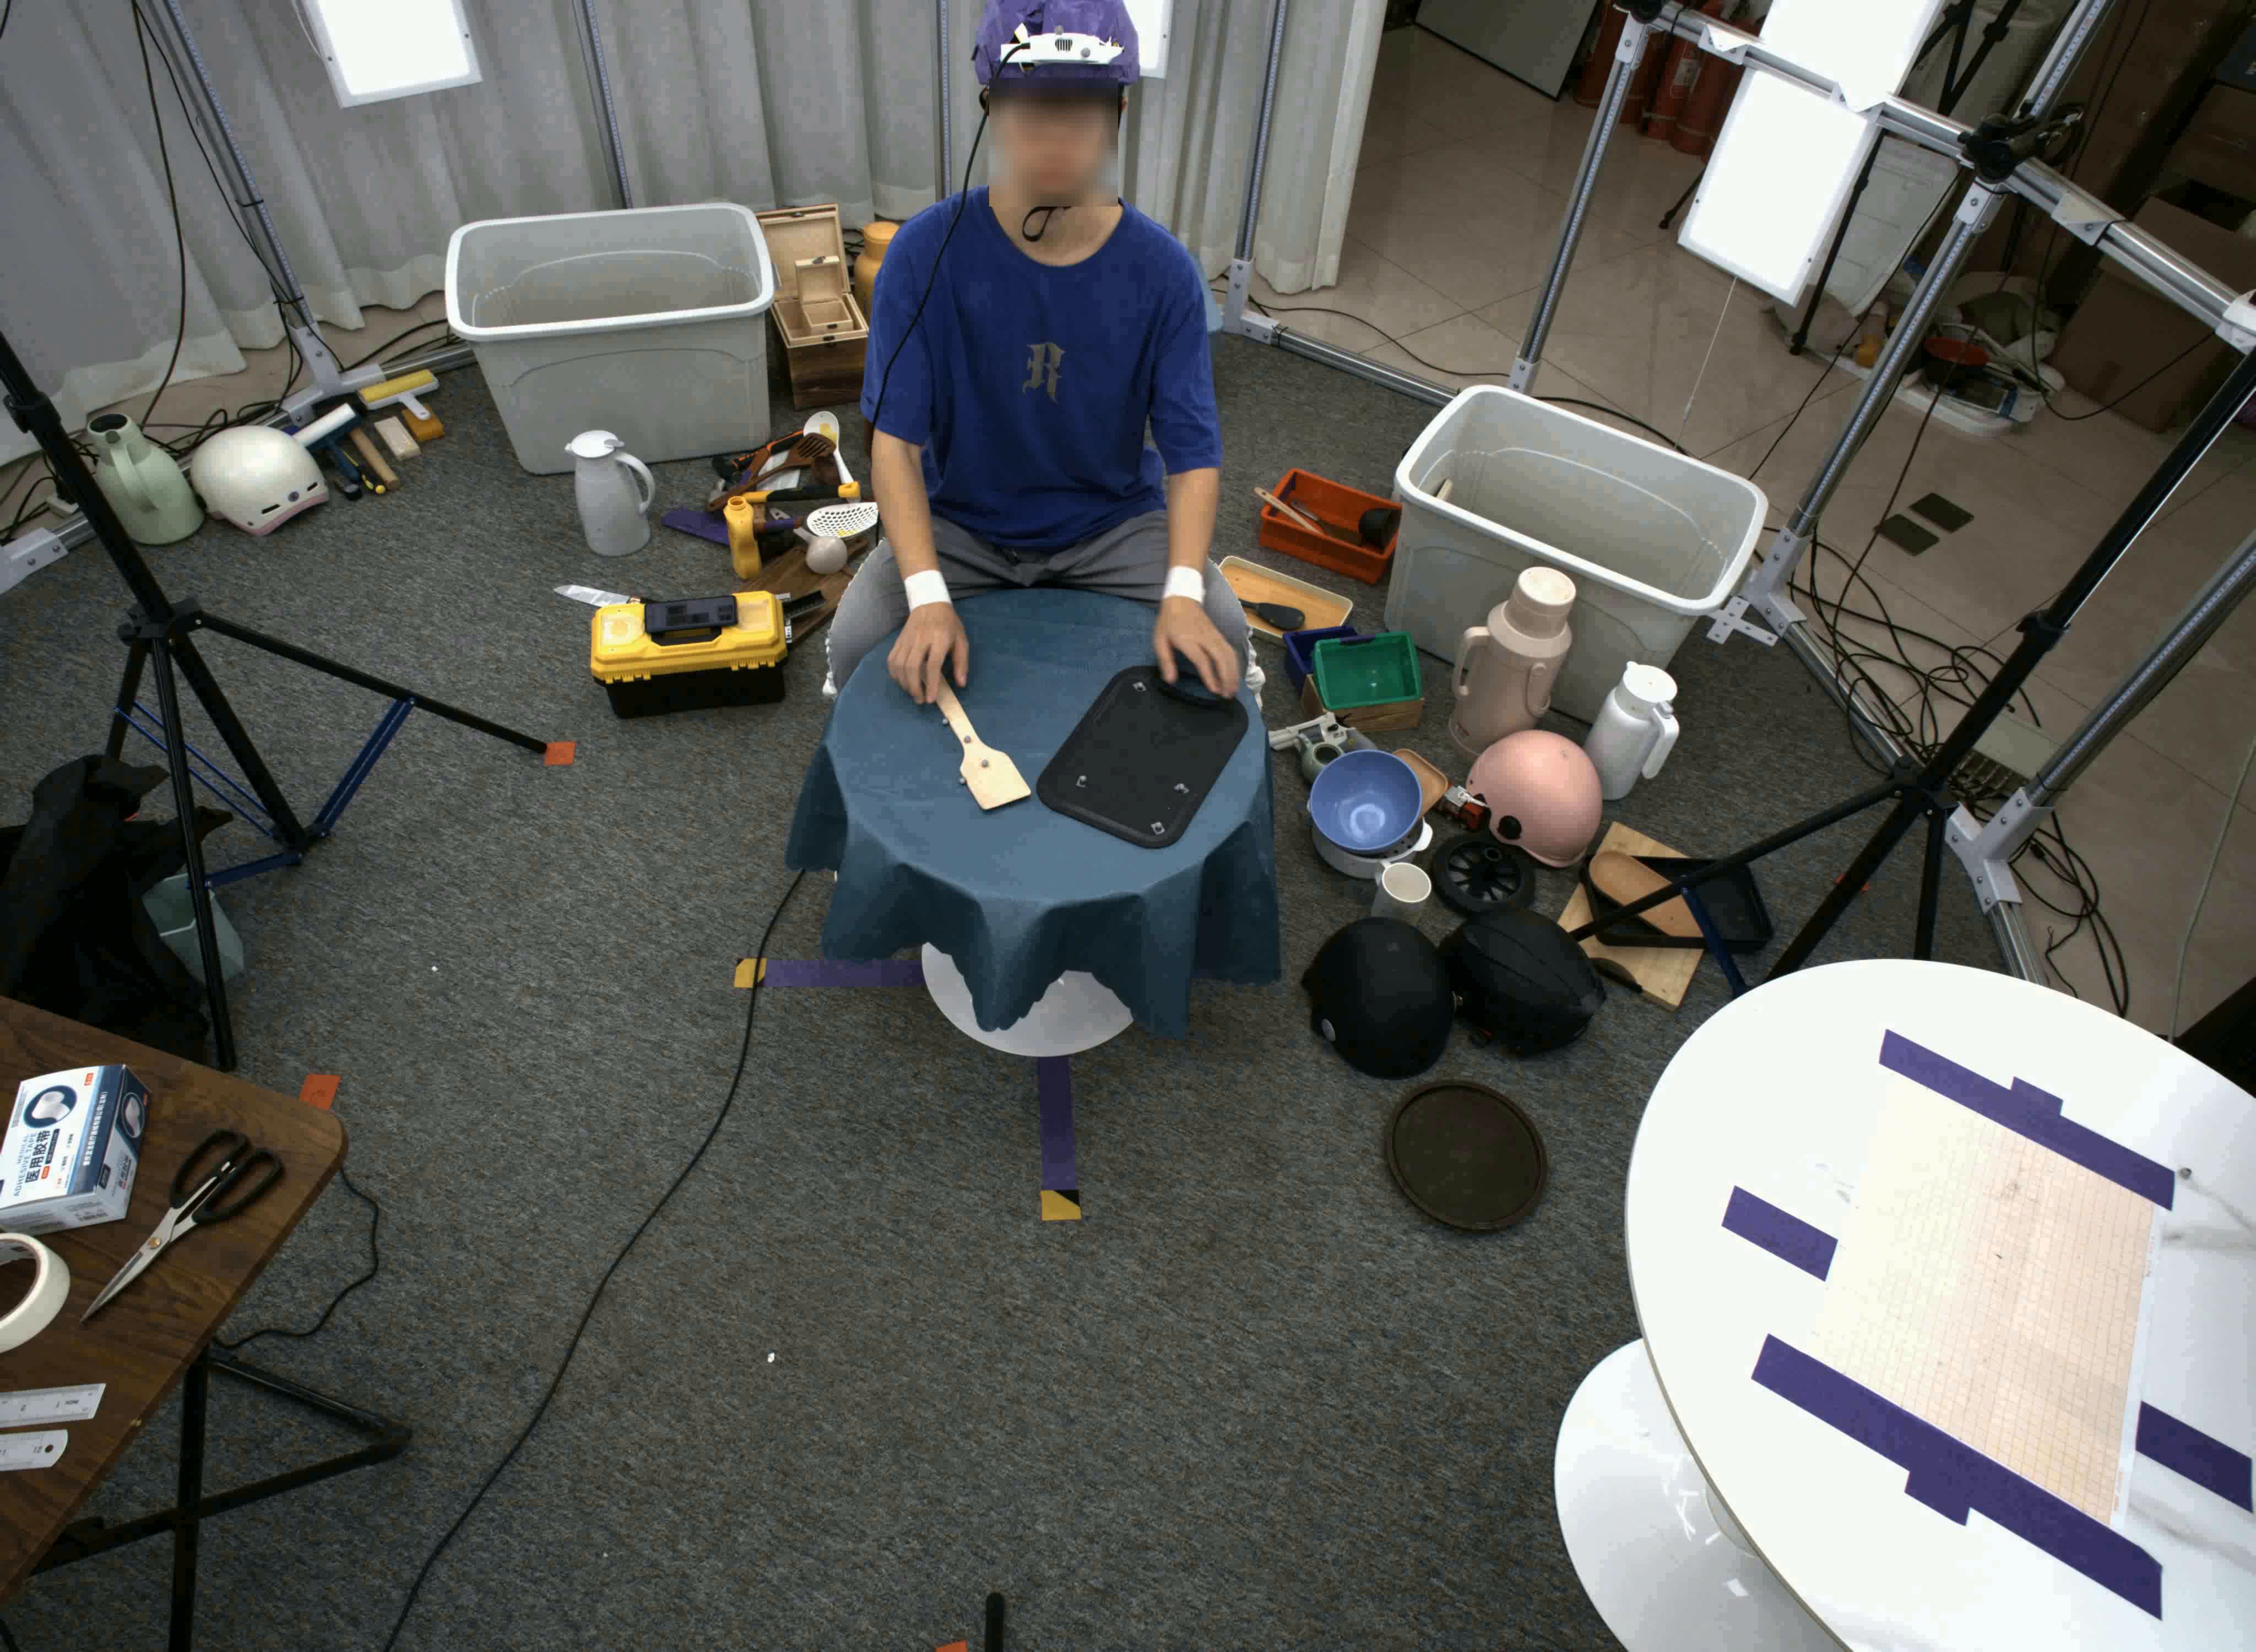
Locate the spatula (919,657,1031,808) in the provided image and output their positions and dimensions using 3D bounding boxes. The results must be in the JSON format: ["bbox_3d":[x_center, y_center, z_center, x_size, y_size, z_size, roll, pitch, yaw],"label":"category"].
[{"bbox_3d":[-0.224,-0.135,1.770,0.072,0.010,0.299,-20,54,-18],"label":"spatula"}]

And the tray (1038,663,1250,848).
[{"bbox_3d":[0.029,-0.111,1.766,0.212,0.009,0.331,23,52,15],"label":"tray"}]
